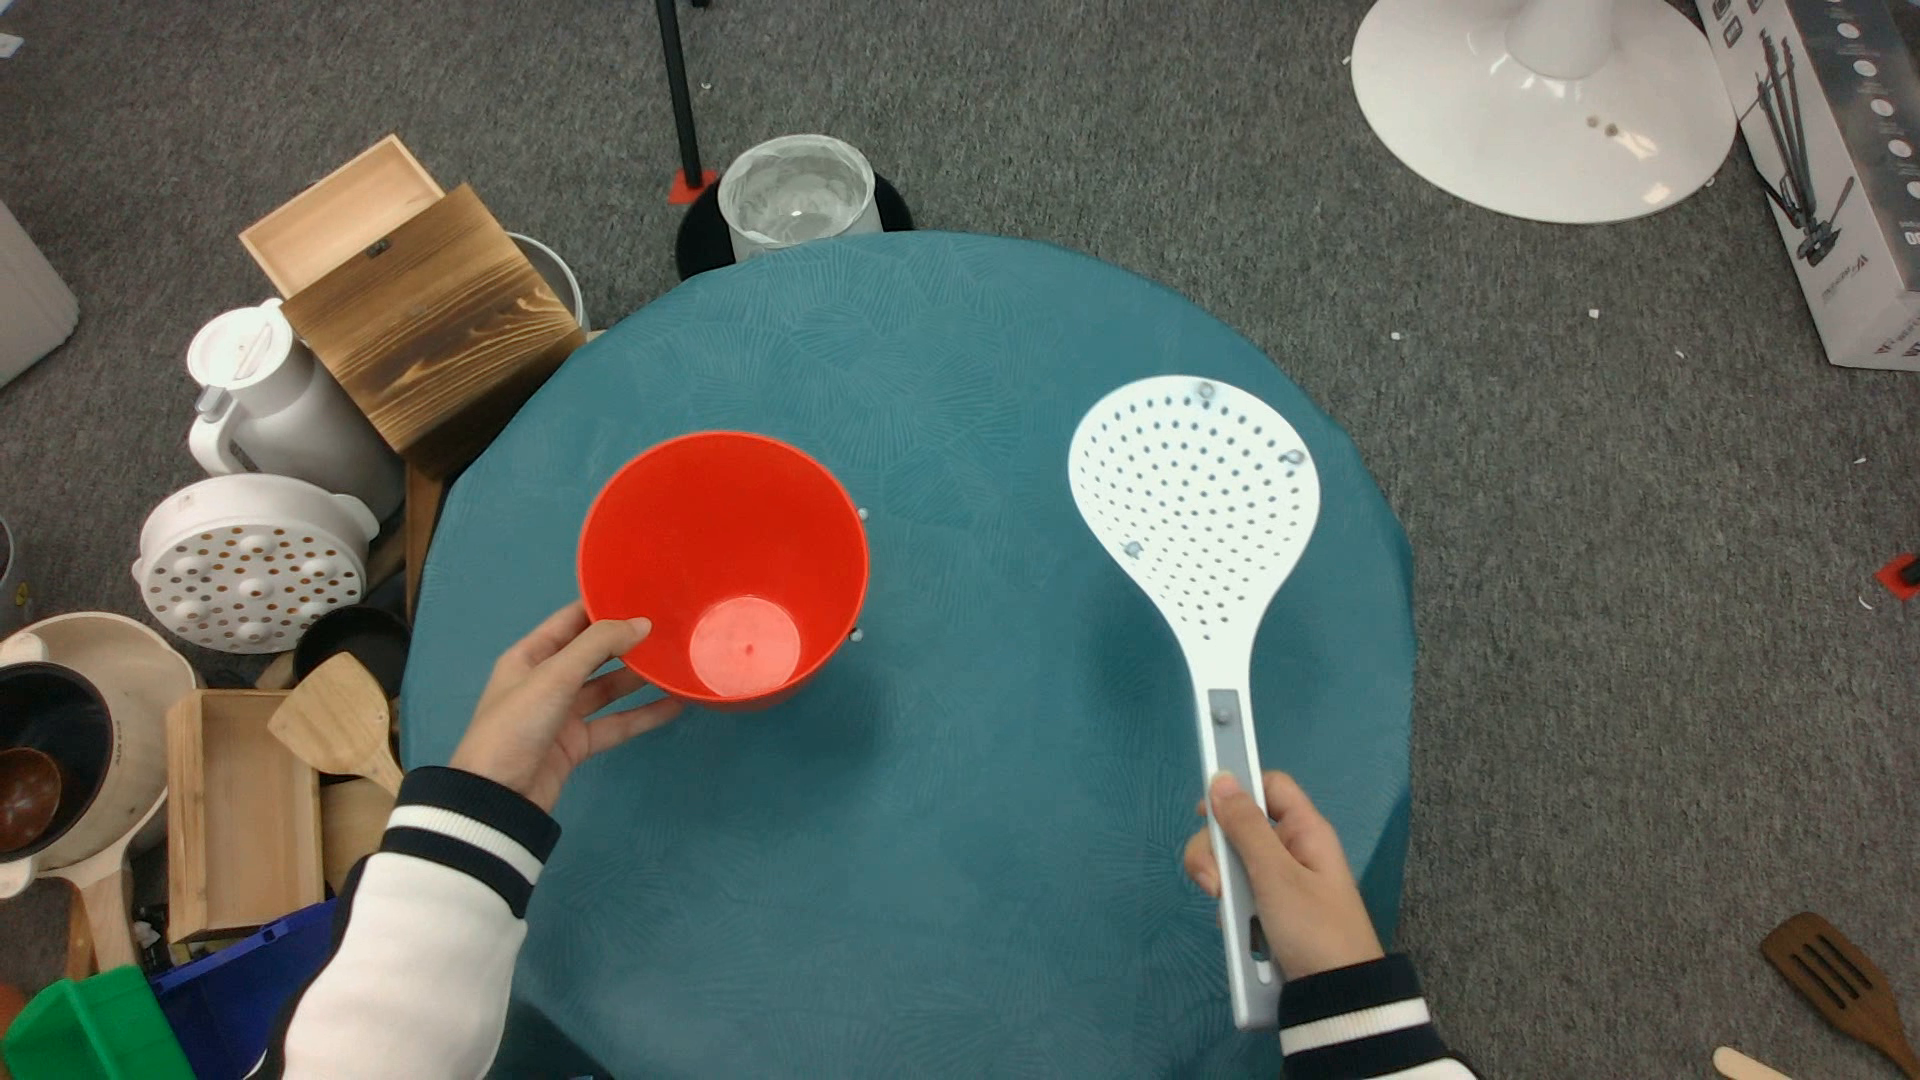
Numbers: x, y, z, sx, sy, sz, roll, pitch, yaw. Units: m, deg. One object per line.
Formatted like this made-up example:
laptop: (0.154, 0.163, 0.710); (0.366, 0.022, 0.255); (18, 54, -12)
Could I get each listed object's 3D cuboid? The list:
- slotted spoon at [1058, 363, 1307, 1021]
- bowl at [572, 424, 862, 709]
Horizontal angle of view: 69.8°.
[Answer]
slotted spoon: (0.123, 0.057, 0.685); (0.136, 0.045, 0.351); (1, 55, -7)
bowl: (-0.129, 0.027, 0.745); (0.148, 0.104, 0.148); (4, 59, -6)
